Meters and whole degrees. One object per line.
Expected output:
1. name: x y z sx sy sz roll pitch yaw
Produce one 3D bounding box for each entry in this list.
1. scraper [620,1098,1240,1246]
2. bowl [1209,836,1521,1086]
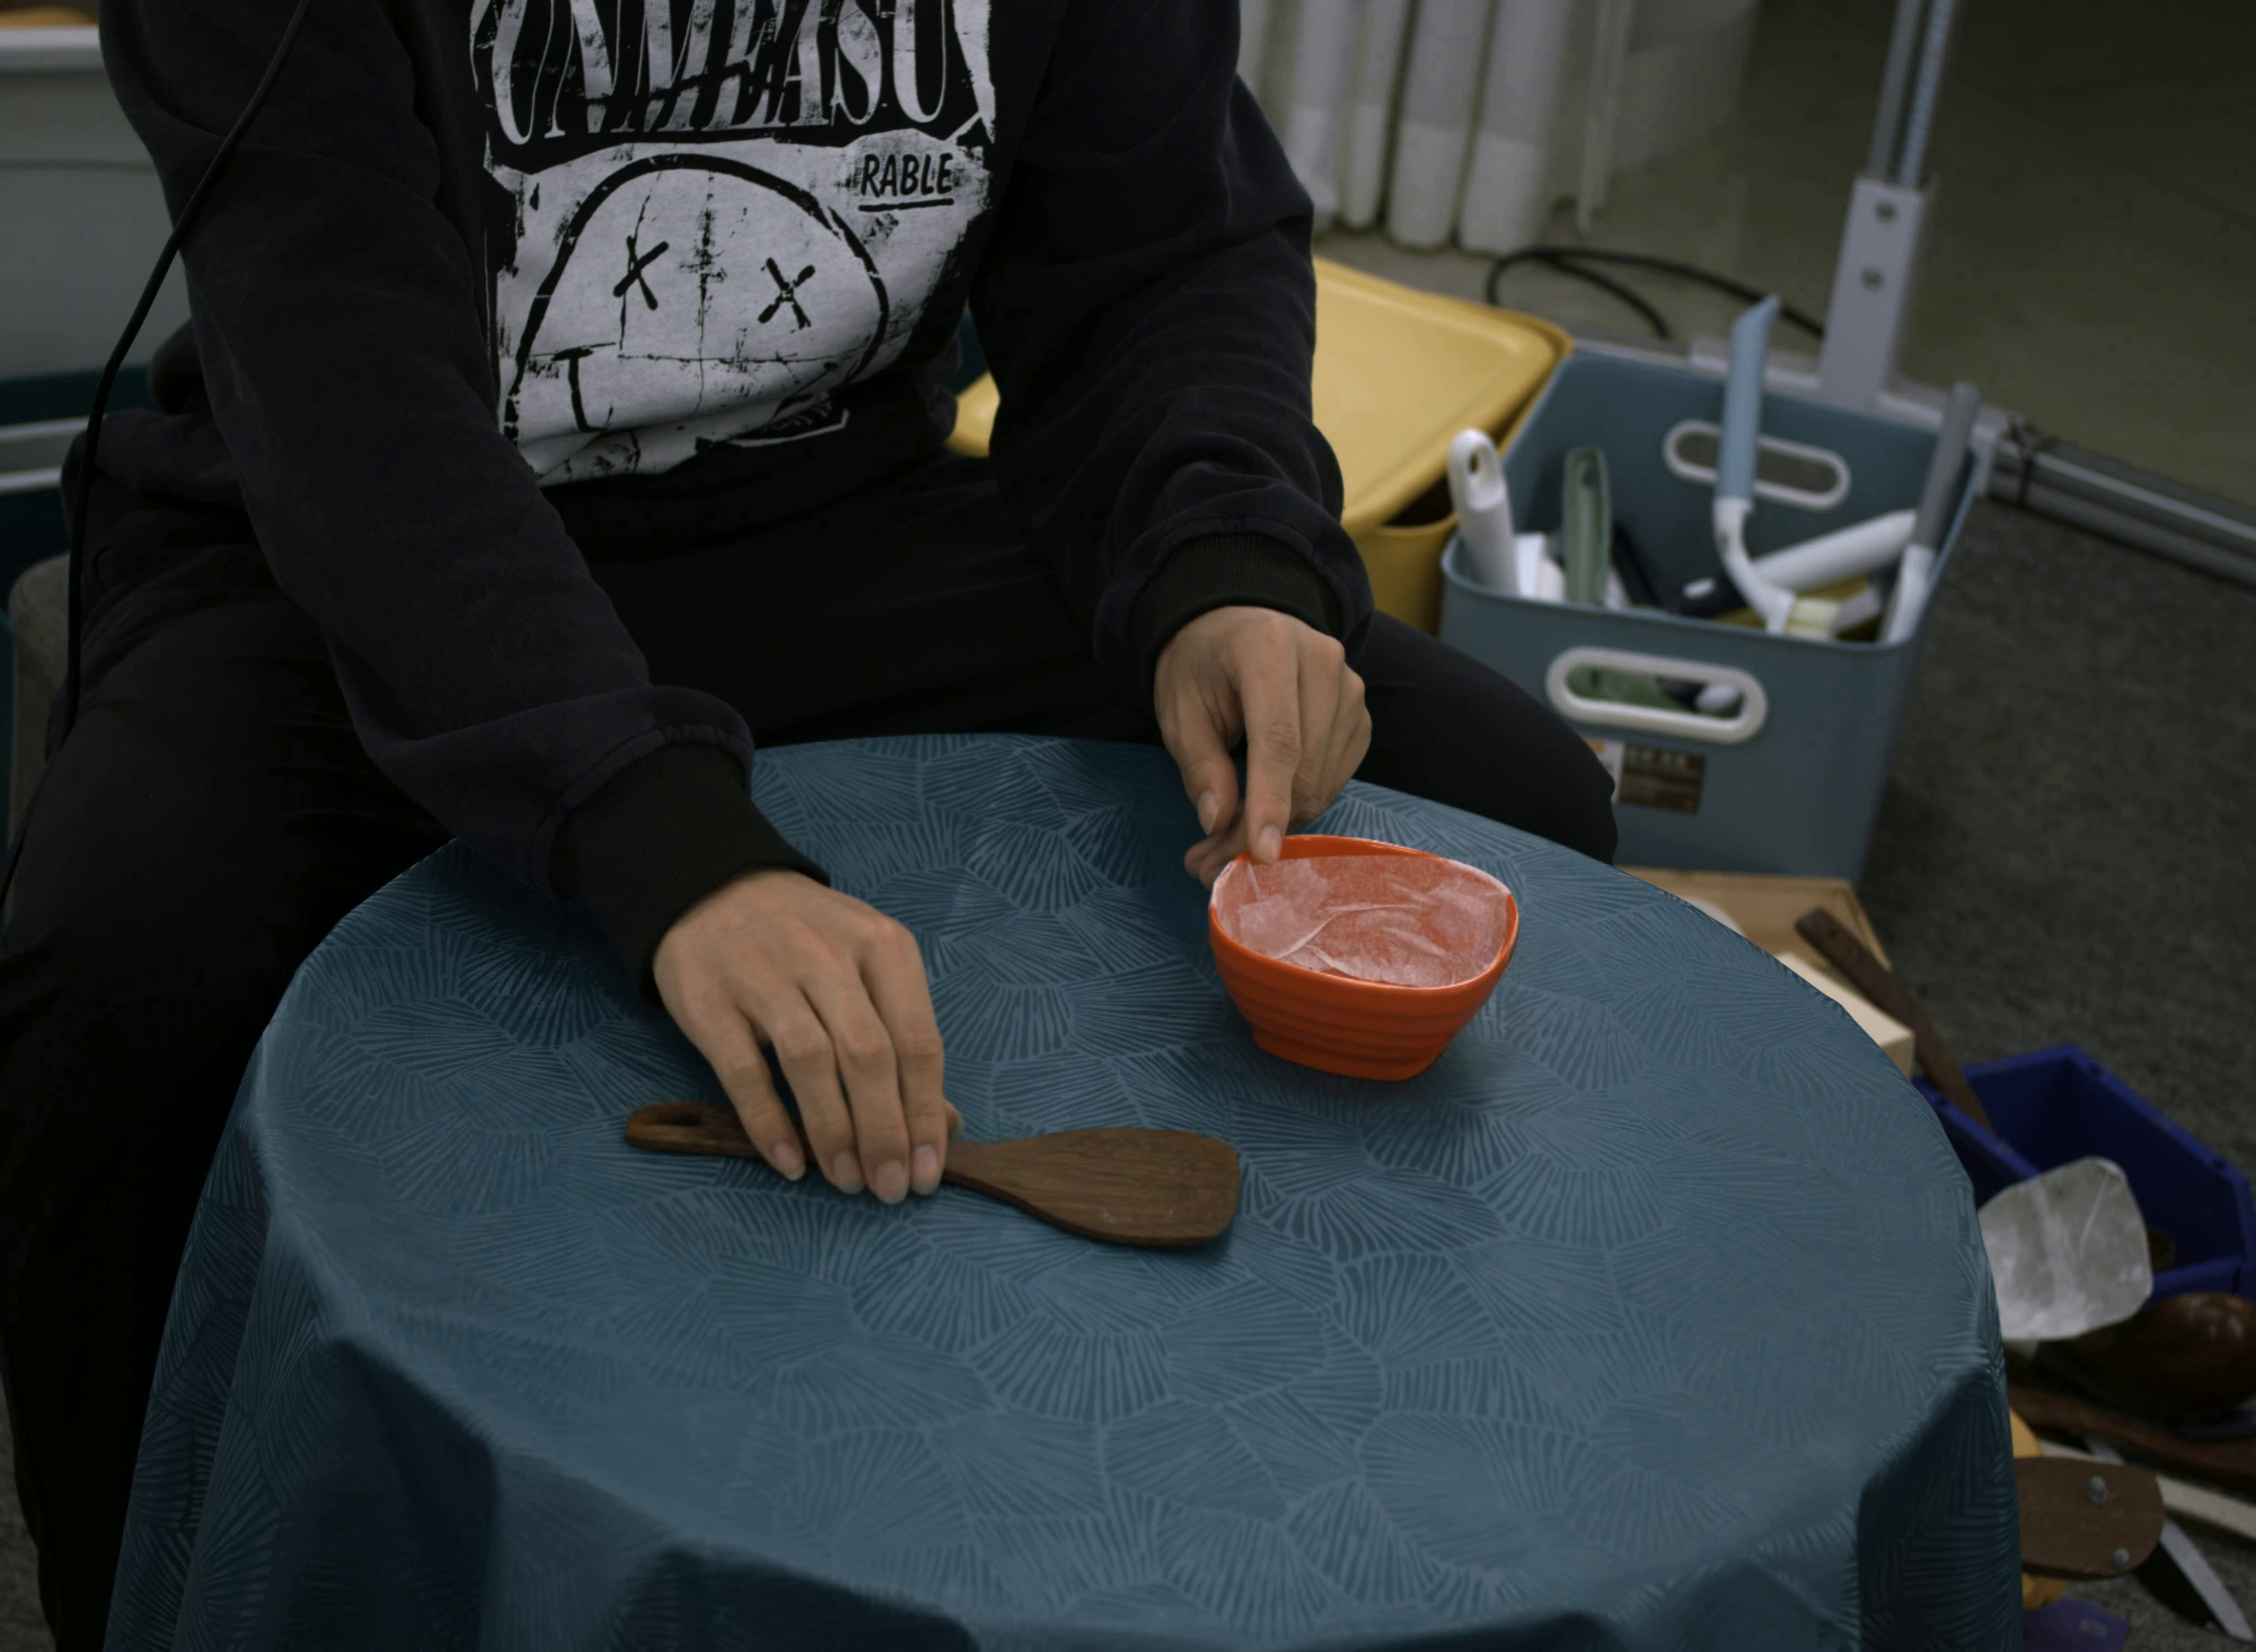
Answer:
1. scraper: -0.067 0.112 1.799 0.211 0.011 0.076 7 26 2
2. bowl: 0.082 0.053 1.906 0.118 0.051 0.119 5 28 -3
